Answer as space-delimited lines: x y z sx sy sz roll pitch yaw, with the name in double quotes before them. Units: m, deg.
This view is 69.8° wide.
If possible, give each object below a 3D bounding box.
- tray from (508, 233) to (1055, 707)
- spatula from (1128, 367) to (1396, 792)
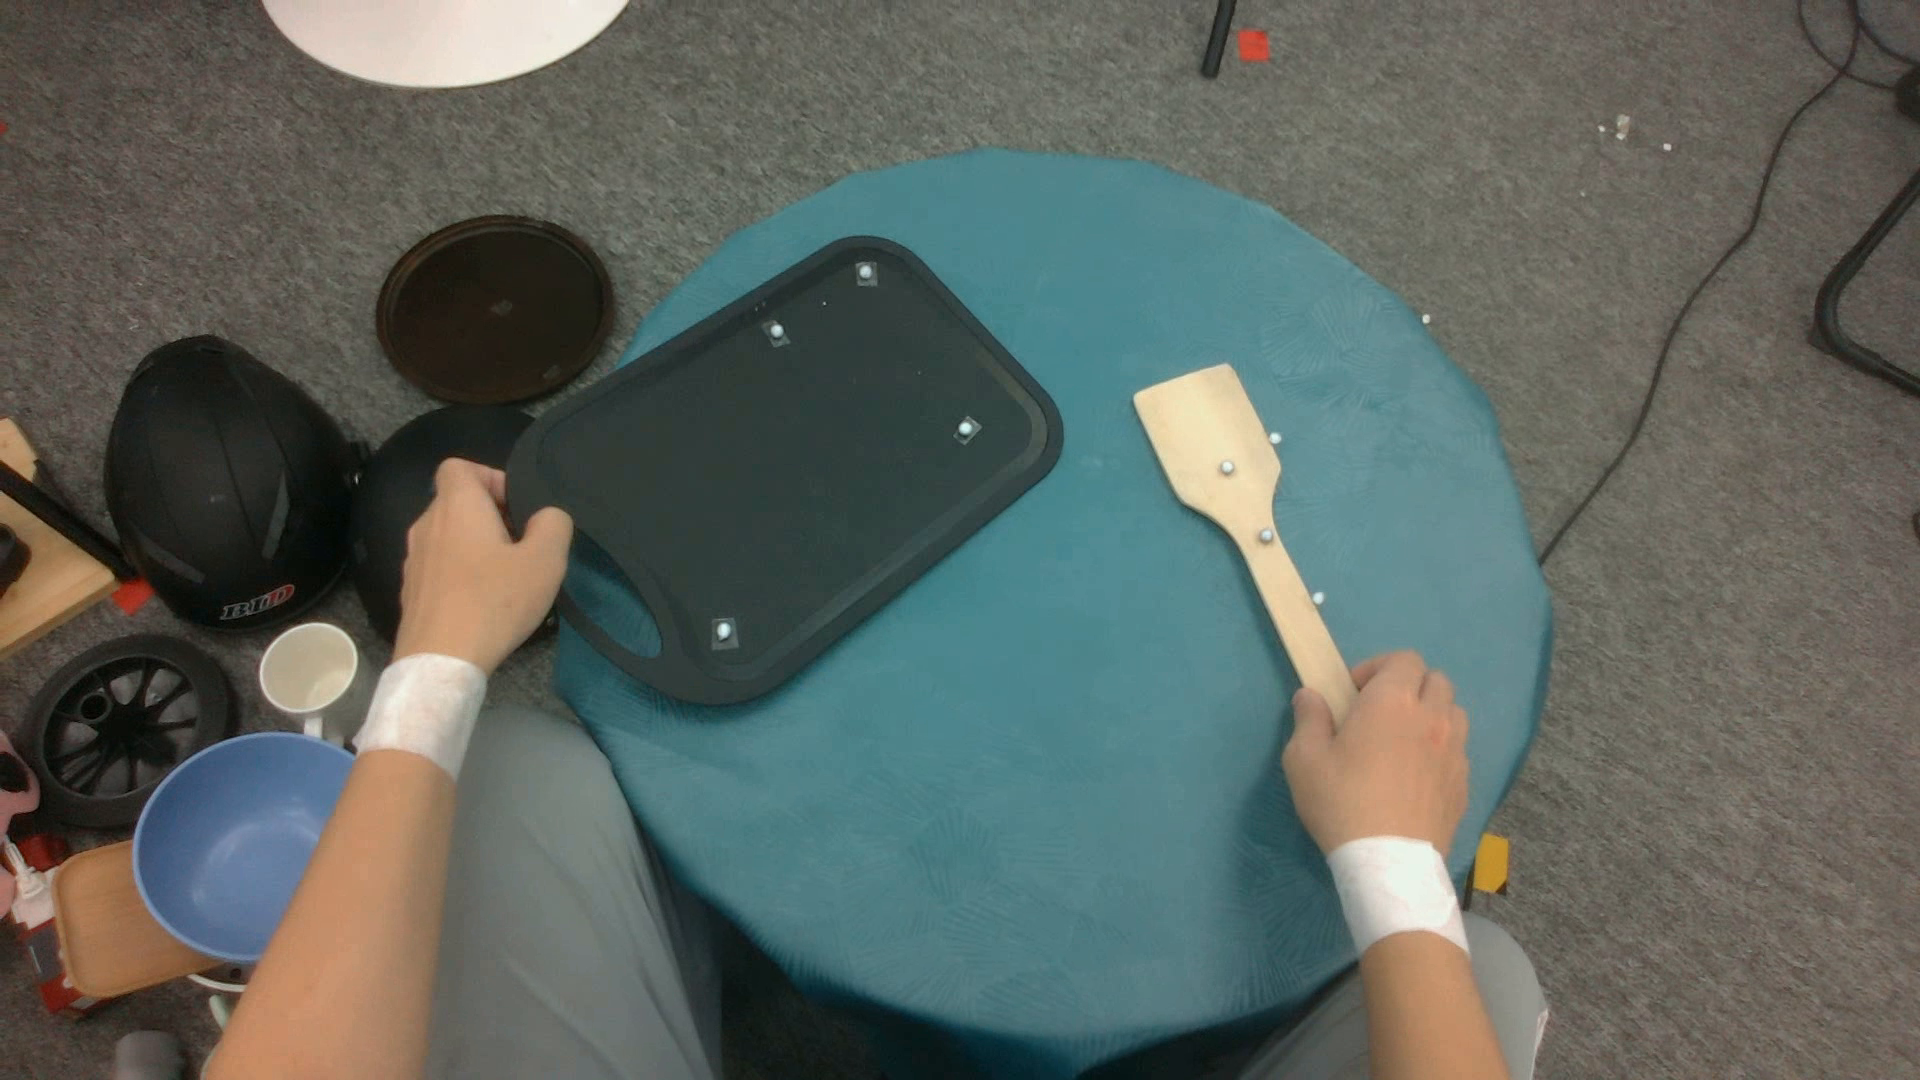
"tray" -0.104 -0.049 0.833 0.326 0.010 0.211 -38 83 -24
"spatula" 0.188 0.018 0.837 0.072 0.010 0.294 -20 63 -3
